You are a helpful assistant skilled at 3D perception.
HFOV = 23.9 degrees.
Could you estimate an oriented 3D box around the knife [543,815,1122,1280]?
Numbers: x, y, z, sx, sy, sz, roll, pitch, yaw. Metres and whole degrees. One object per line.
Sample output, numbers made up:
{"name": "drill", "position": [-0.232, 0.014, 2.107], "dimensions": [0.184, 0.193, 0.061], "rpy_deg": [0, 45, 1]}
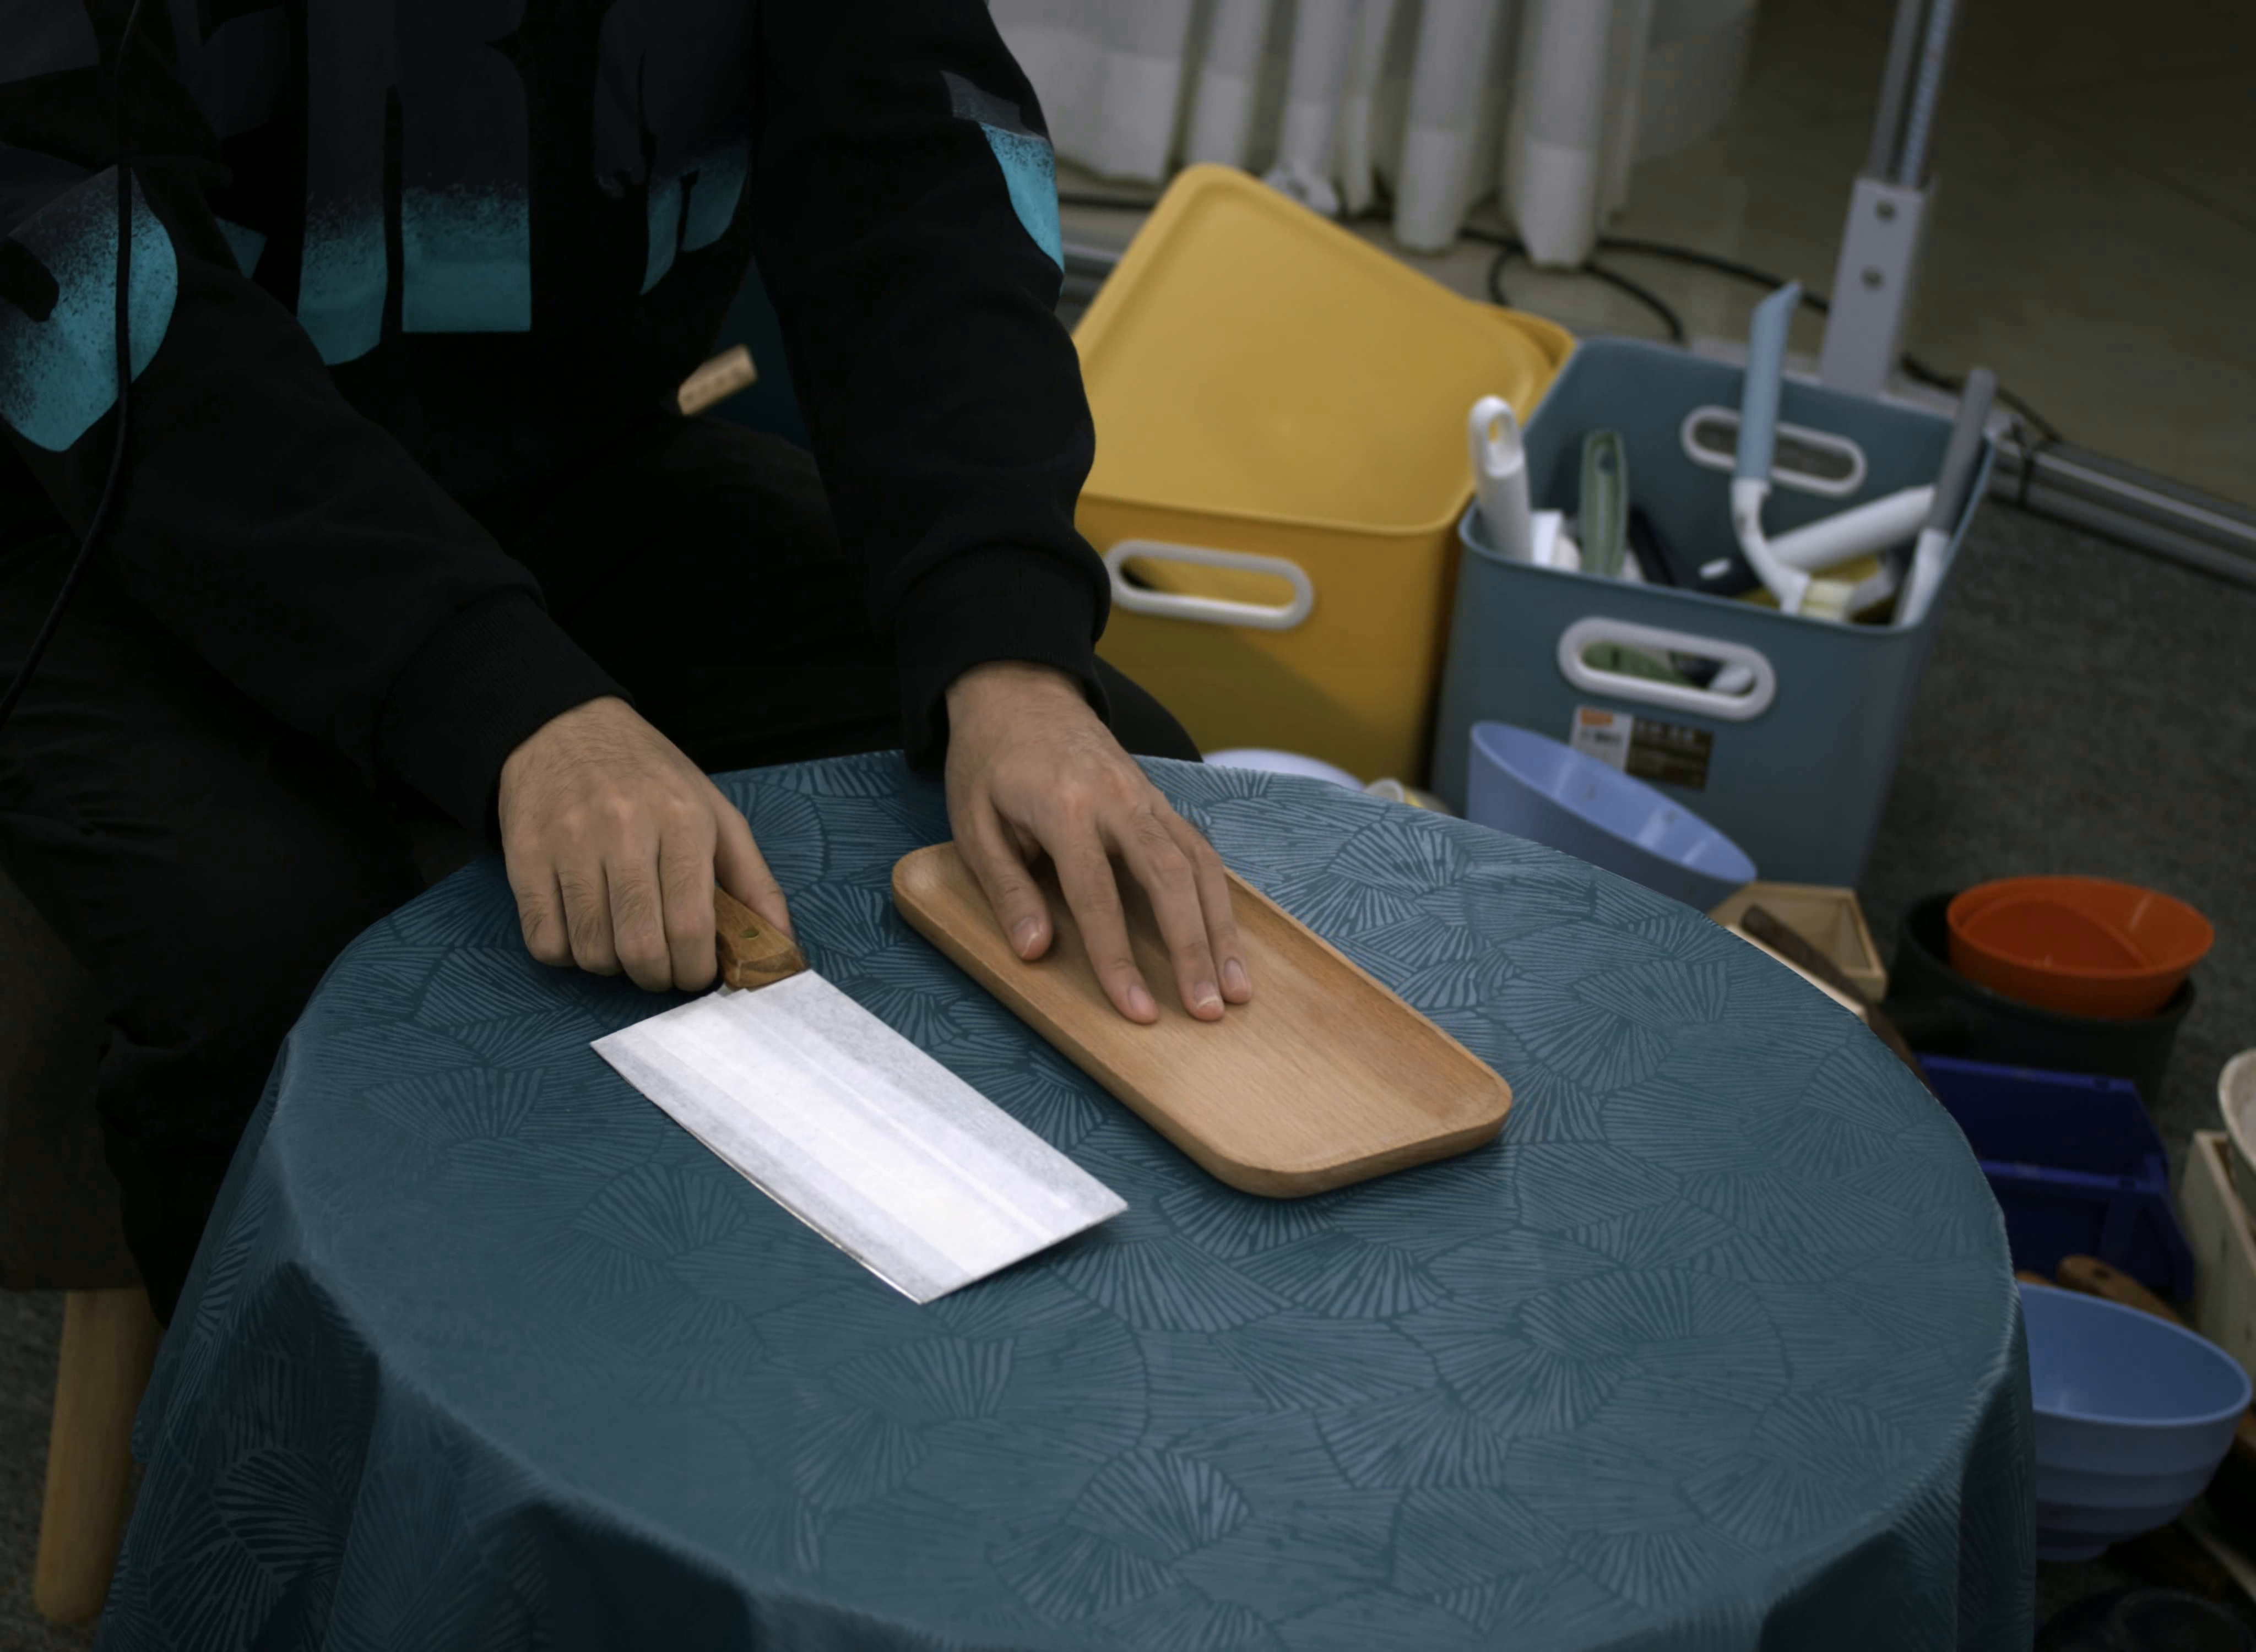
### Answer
{"name": "knife", "position": [-0.128, 0.077, 1.850], "dimensions": [0.092, 0.021, 0.308], "rpy_deg": [-23, 39, -32]}

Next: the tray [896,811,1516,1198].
{"name": "tray", "position": [0.024, 0.061, 1.912], "dimensions": [0.129, 0.023, 0.253], "rpy_deg": [-9, 30, -32]}
